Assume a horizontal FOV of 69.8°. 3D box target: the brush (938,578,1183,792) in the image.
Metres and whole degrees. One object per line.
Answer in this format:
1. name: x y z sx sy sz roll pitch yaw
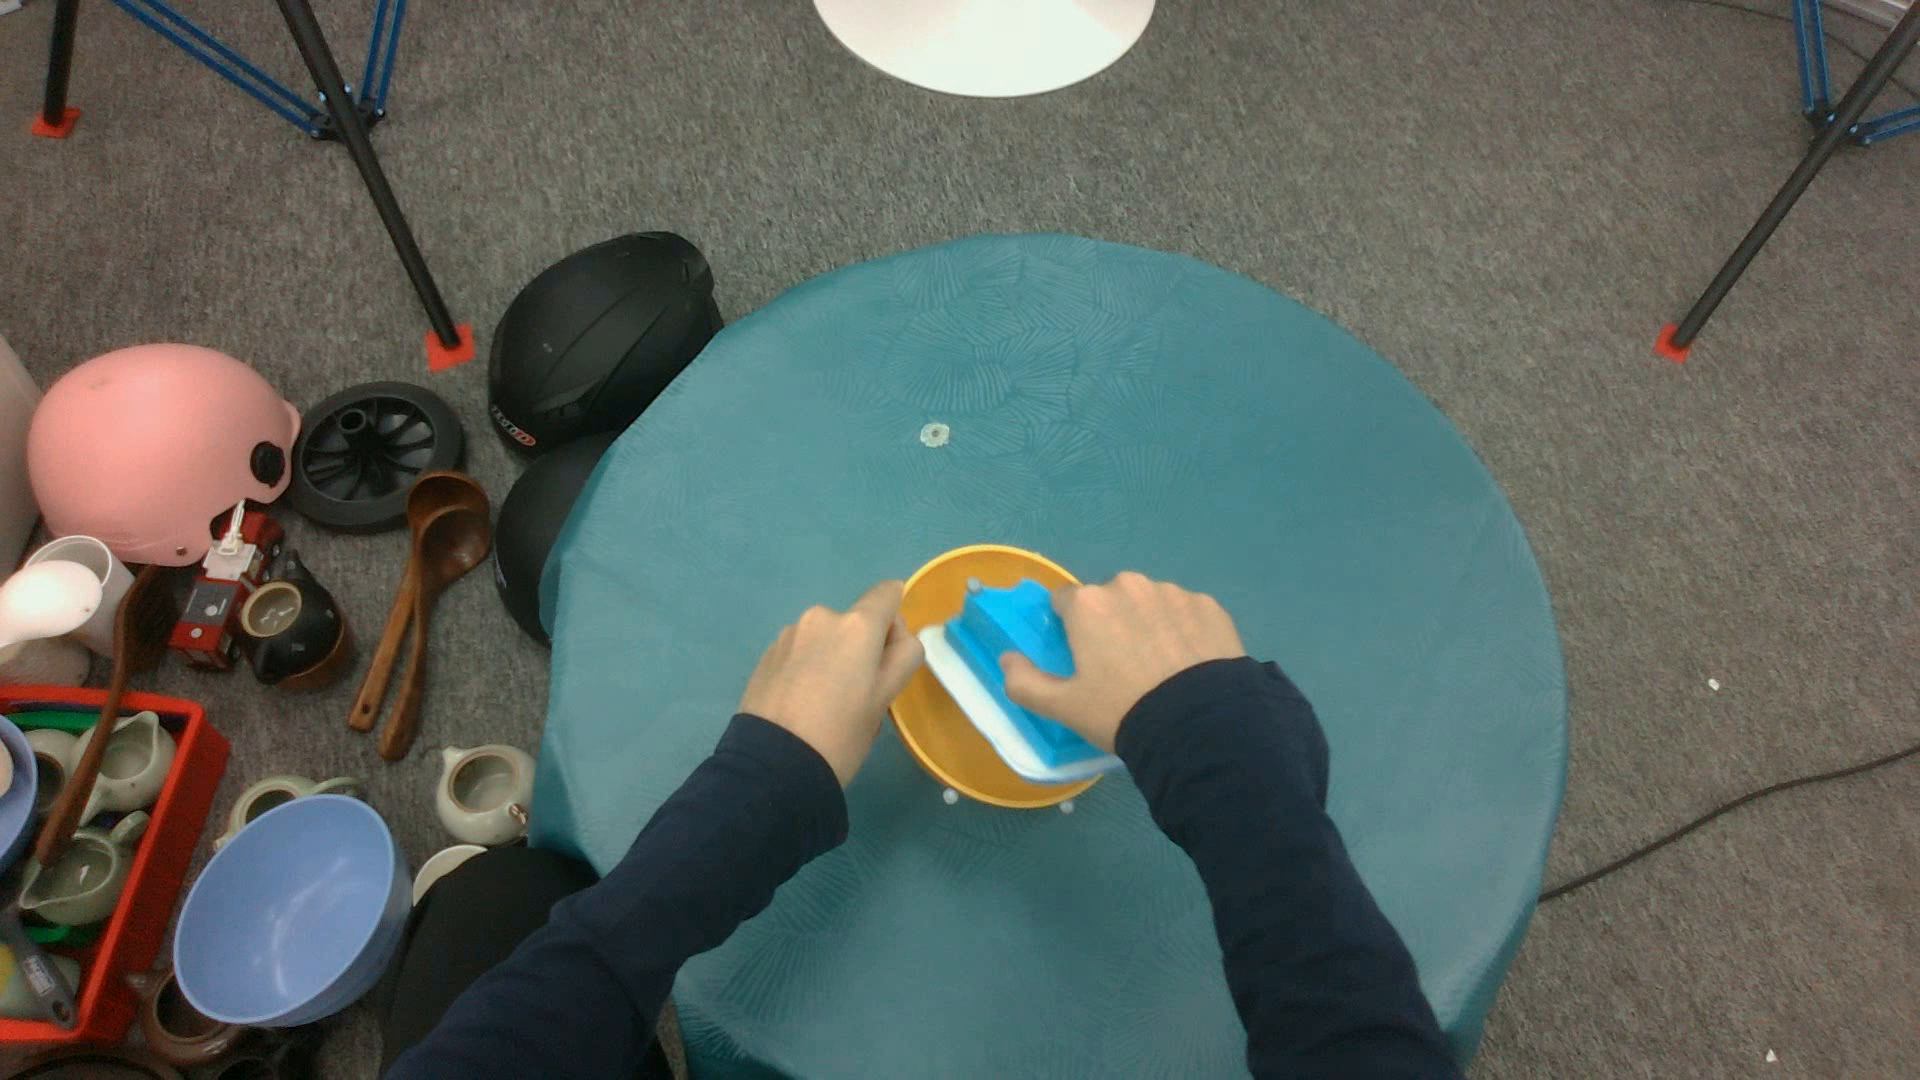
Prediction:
1. brush: 0.047 0.065 0.699 0.084 0.055 0.144 -12 31 -21

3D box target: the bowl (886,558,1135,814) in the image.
1. bowl: 0.020 0.087 0.760 0.145 0.060 0.146 10 60 -18
